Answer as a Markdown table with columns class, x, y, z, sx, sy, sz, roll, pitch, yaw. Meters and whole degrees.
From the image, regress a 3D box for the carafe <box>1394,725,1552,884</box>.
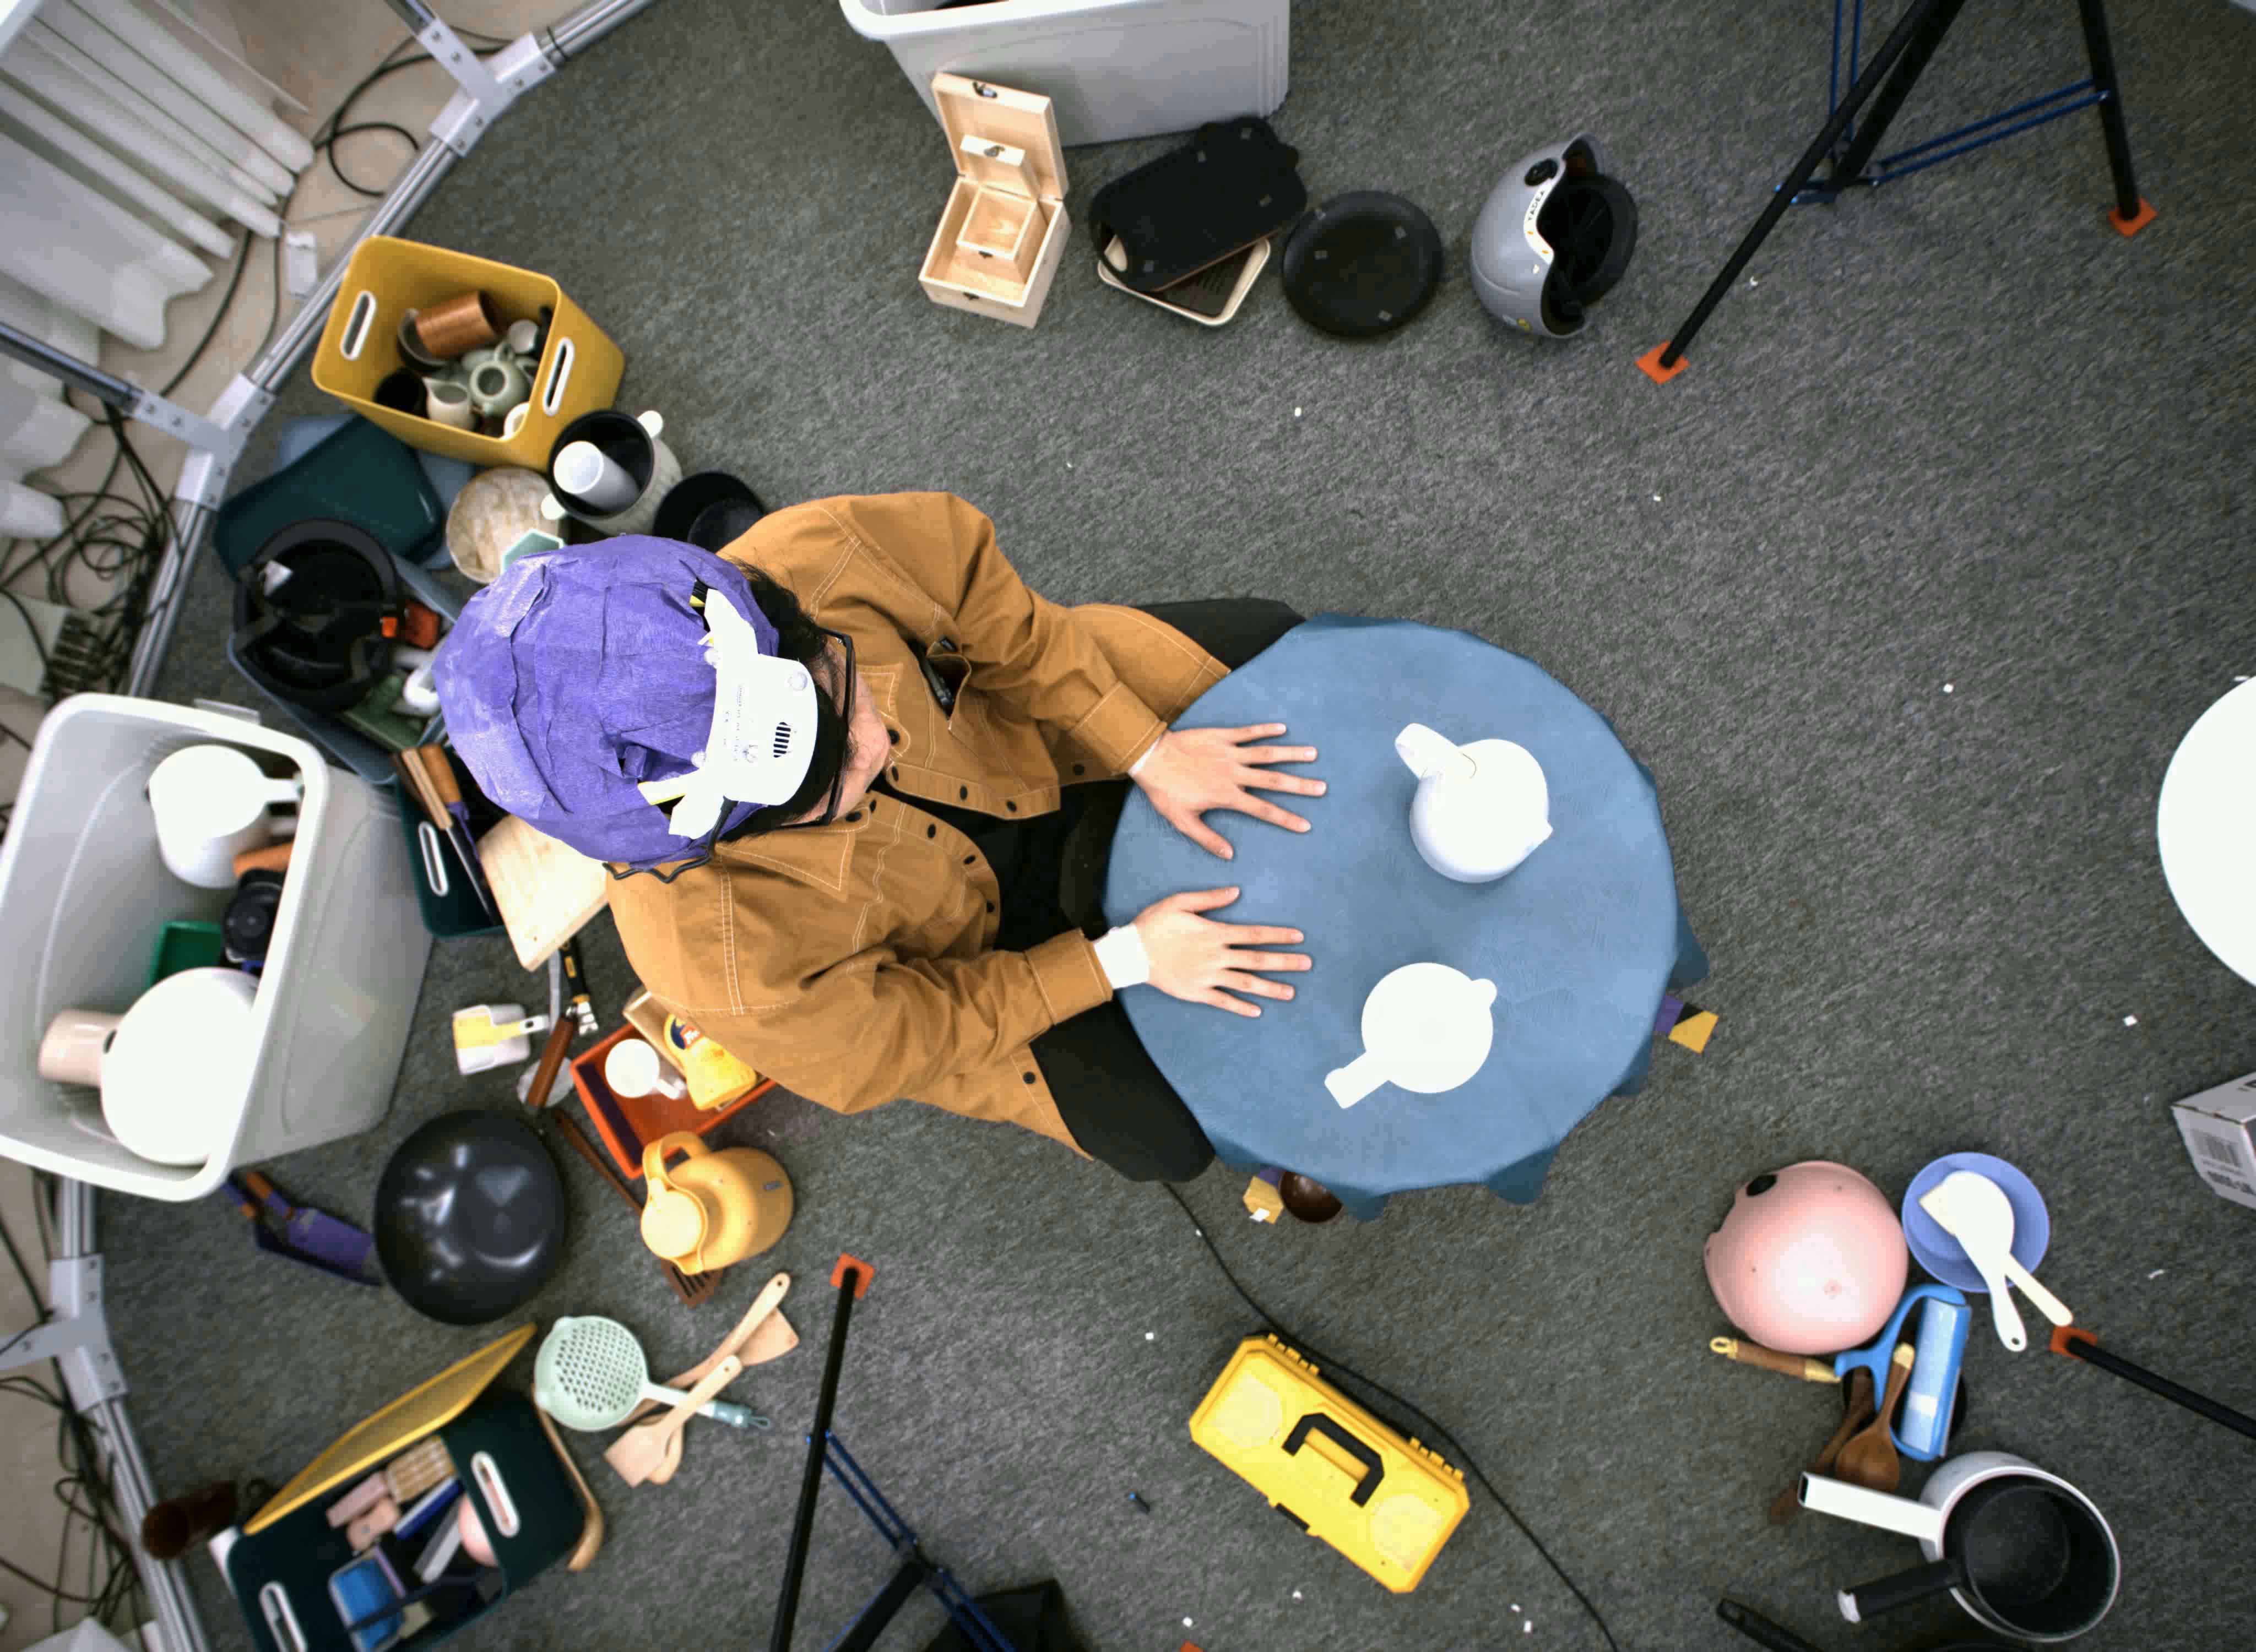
| class | x | y | z | sx | sy | sz | roll | pitch | yaw |
| --- | --- | --- | --- | --- | --- | --- | --- | --- | --- |
| carafe | 0.327 | -0.031 | 1.329 | 0.167 | 0.249 | 0.133 | 41 | 93 | 12 |

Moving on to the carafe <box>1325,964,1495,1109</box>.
| class | x | y | z | sx | sy | sz | roll | pitch | yaw |
| --- | --- | --- | --- | --- | --- | --- | --- | --- | --- |
| carafe | 0.269 | 0.201 | 1.320 | 0.174 | 0.269 | 0.123 | -37 | 81 | 5 |
